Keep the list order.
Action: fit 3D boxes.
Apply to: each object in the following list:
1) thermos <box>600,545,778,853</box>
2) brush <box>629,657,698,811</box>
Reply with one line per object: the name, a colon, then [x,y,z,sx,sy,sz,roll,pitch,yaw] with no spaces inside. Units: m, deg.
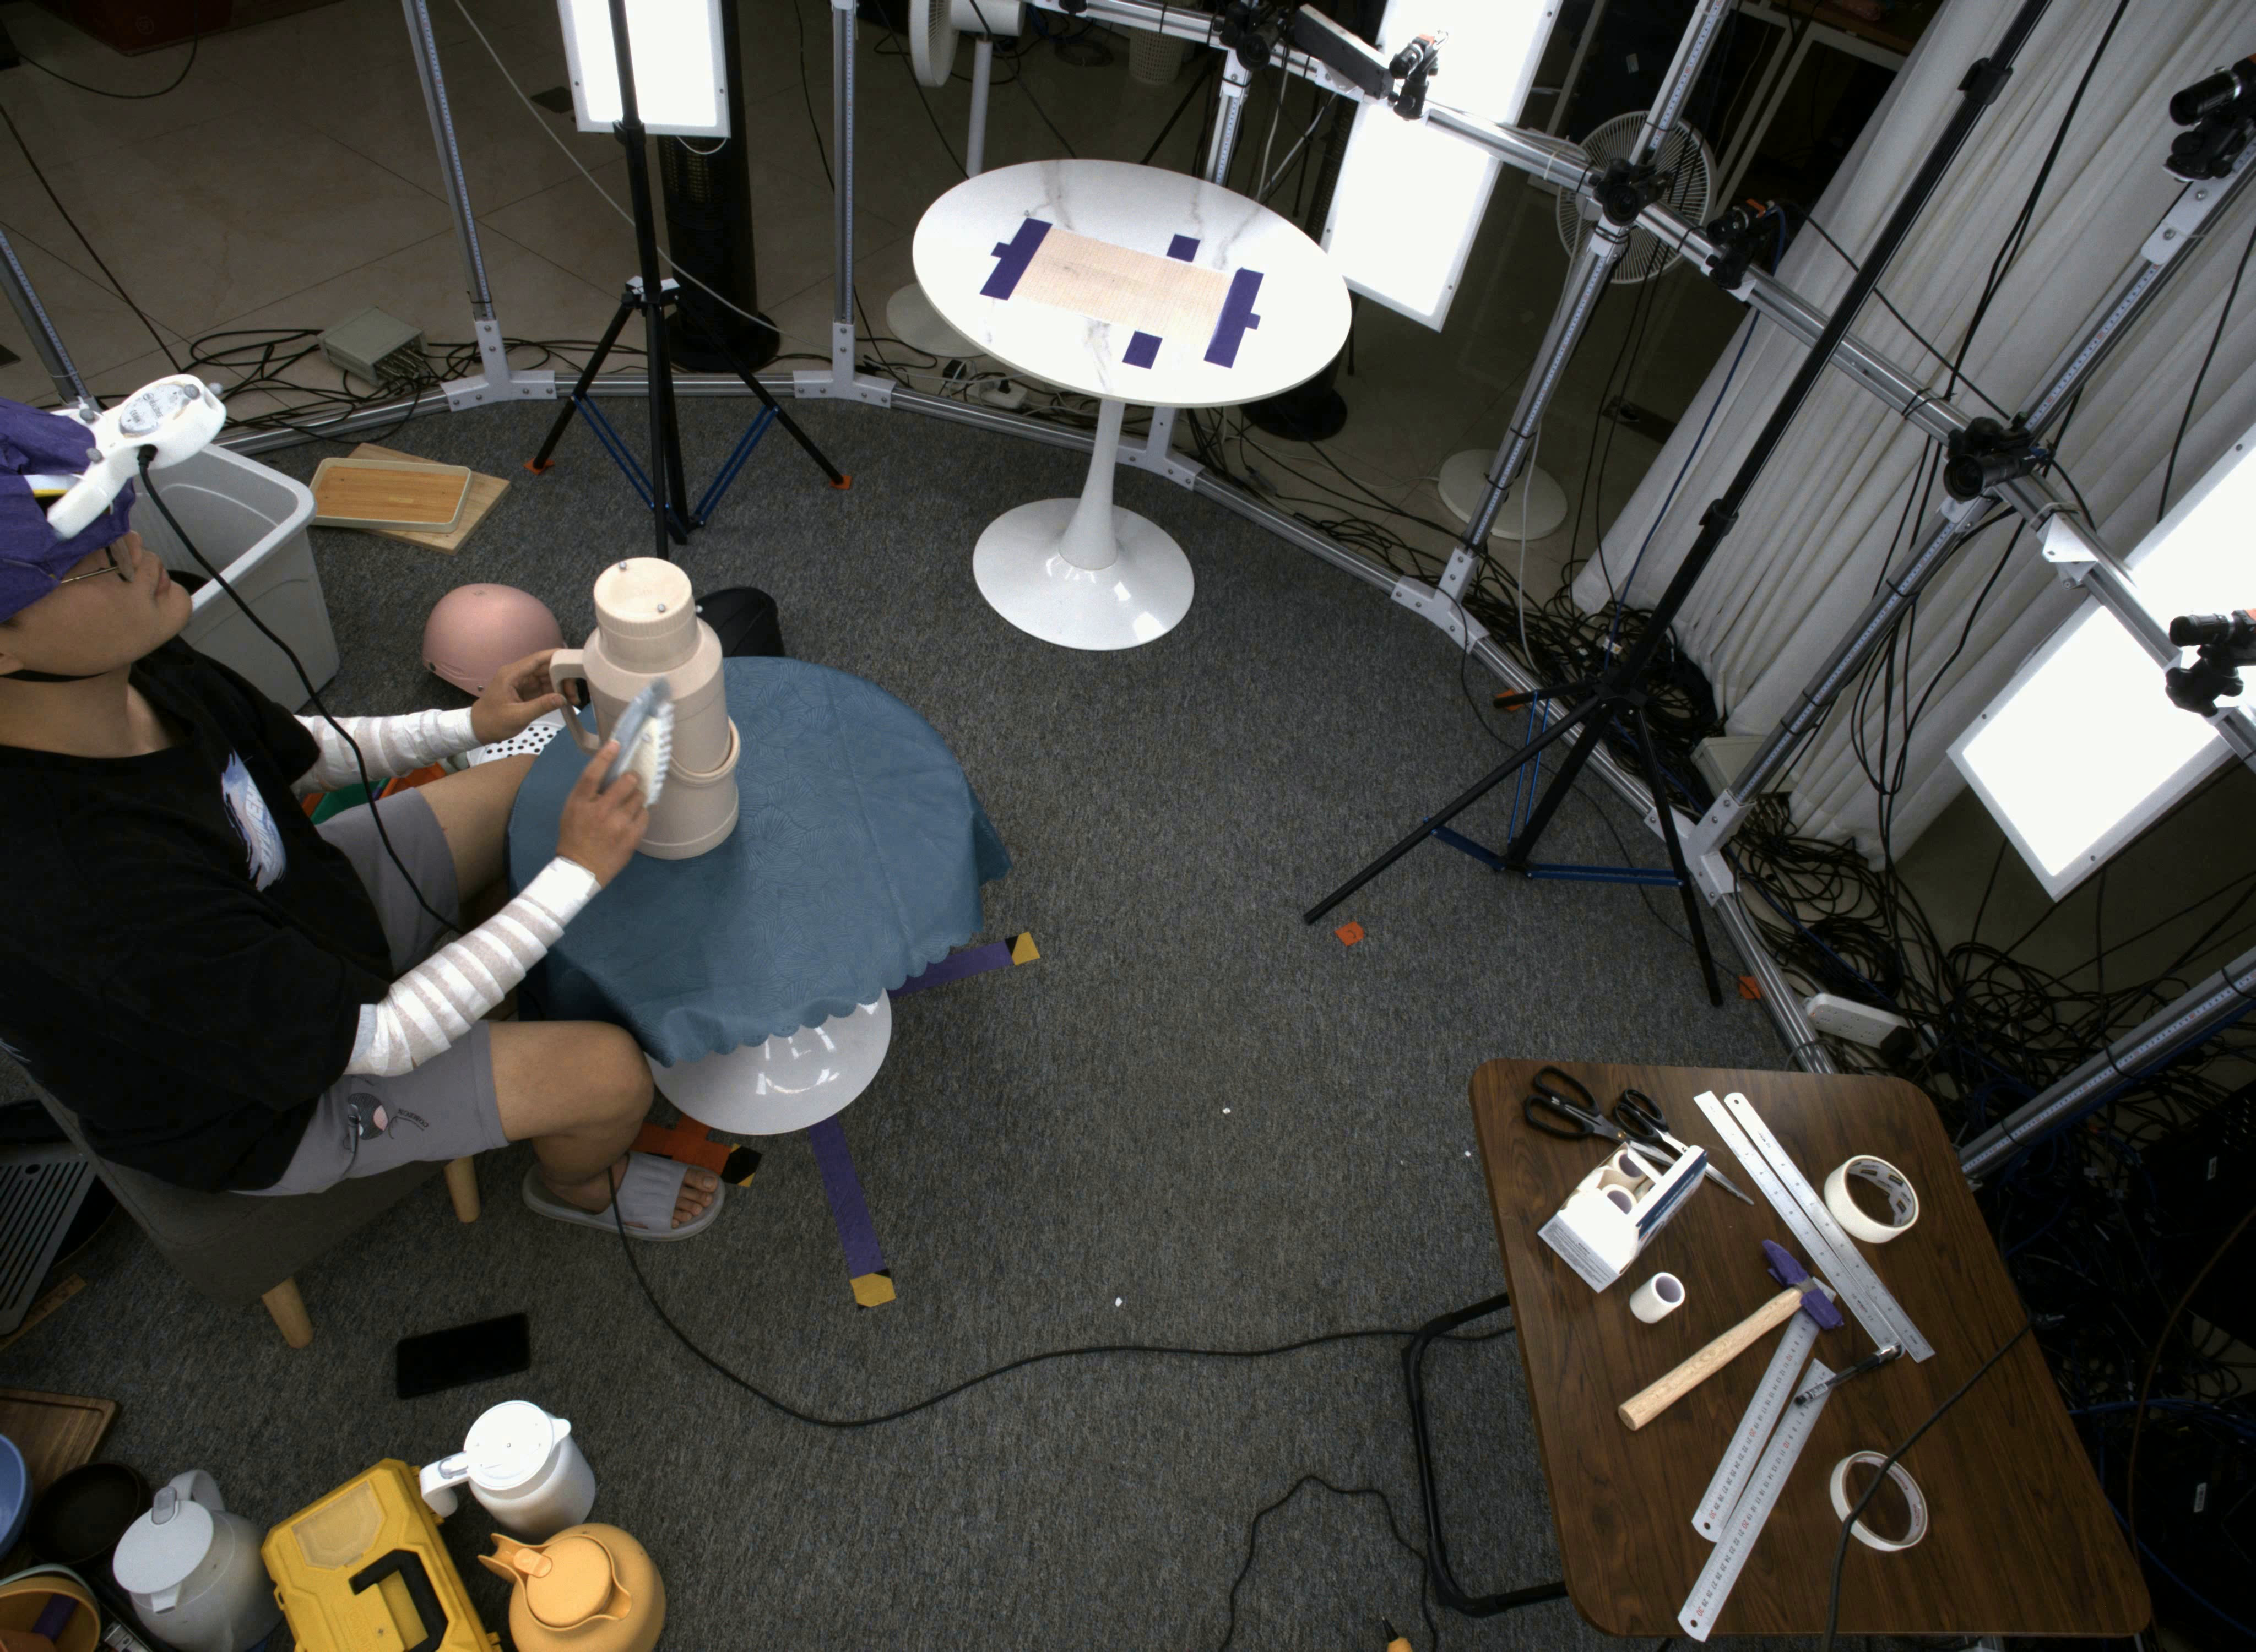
thermos: [-0.535,-0.153,1.565,0.207,0.415,0.172,0,54,-11]
brush: [-0.518,-0.096,1.416,0.061,0.178,0.093,23,32,-5]
